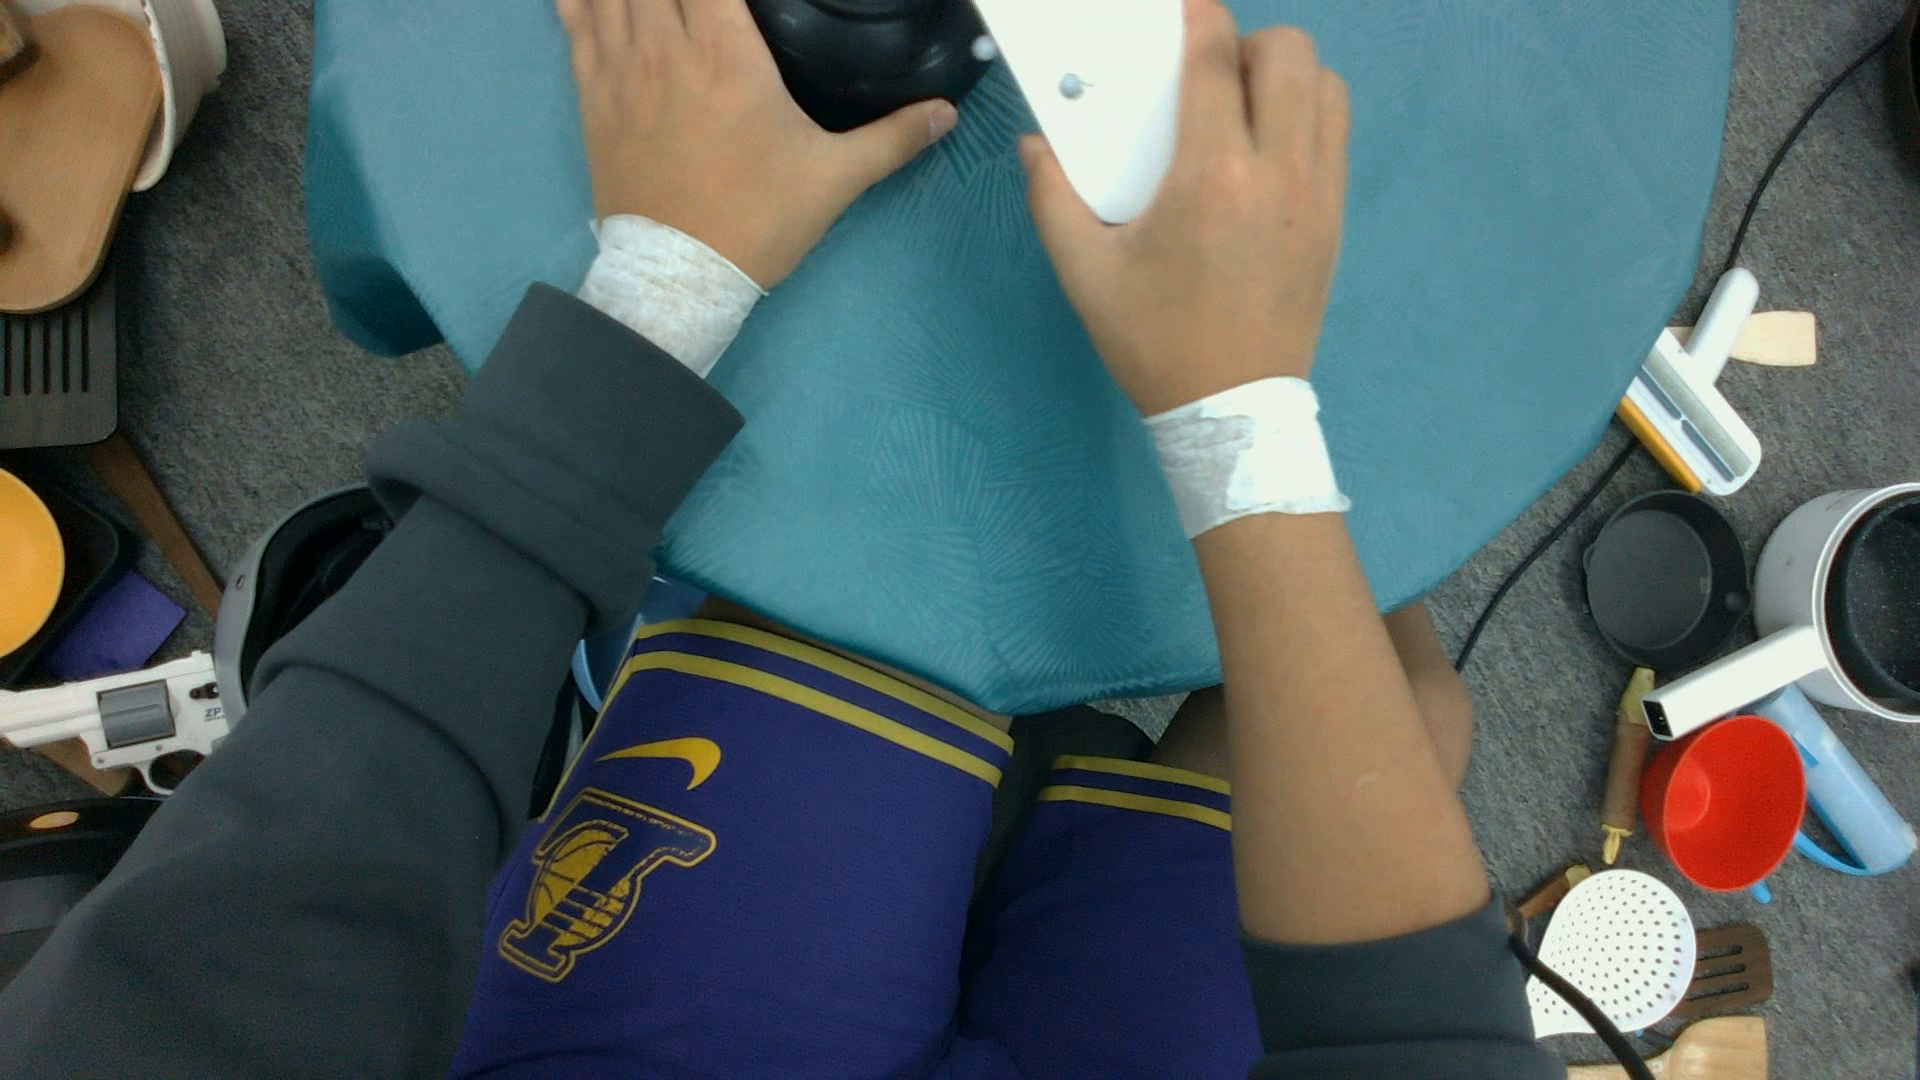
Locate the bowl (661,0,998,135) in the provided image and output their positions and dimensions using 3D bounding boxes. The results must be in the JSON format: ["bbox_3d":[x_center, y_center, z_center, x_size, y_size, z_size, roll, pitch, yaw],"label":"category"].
[{"bbox_3d":[-0.046,-0.229,0.521,0.140,0.050,0.140,0,91,-15],"label":"bowl"}]

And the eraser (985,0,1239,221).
[{"bbox_3d":[0.045,-0.179,0.484,0.063,0.034,0.131,-25,90,3],"label":"eraser"}]
